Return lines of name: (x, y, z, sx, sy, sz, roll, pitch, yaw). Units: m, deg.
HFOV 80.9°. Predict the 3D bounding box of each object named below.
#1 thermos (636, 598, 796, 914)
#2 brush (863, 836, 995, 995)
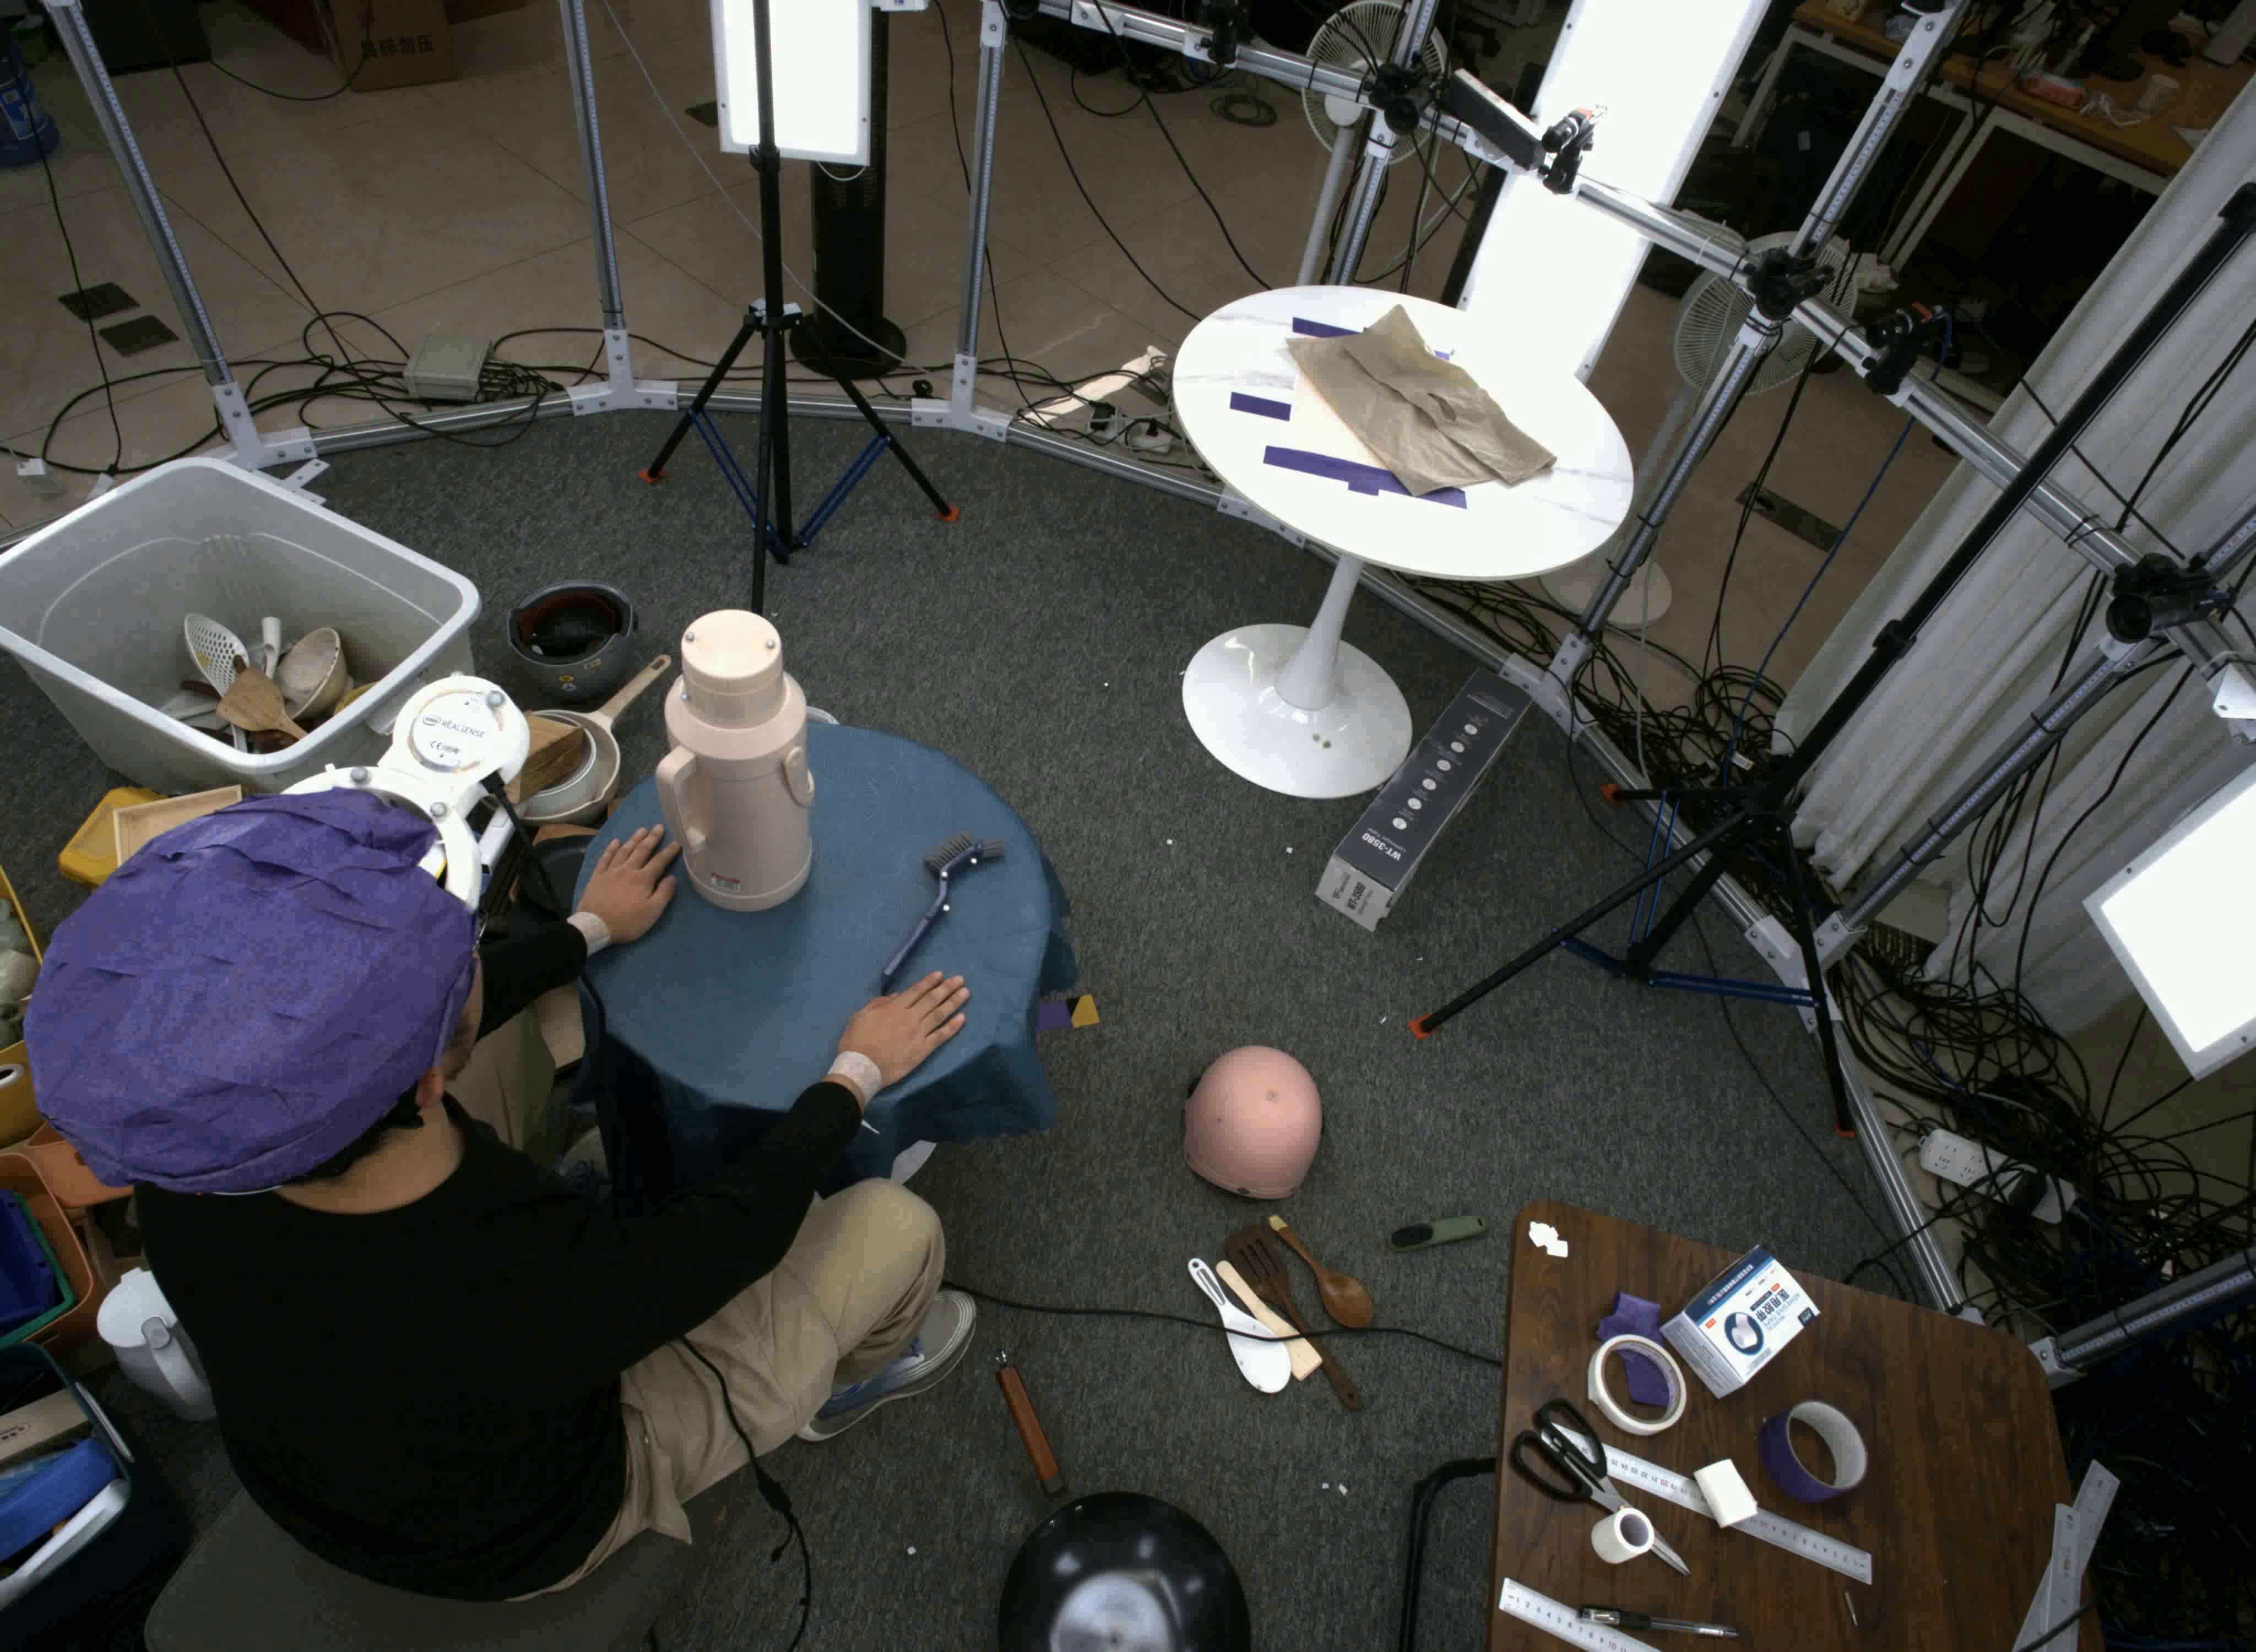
thermos: (-0.484, -0.070, 1.498, 0.172, 0.414, 0.206, 30, 52, 10)
brush: (-0.256, 0.108, 1.661, 0.094, 0.034, 0.270, 18, 49, 2)
